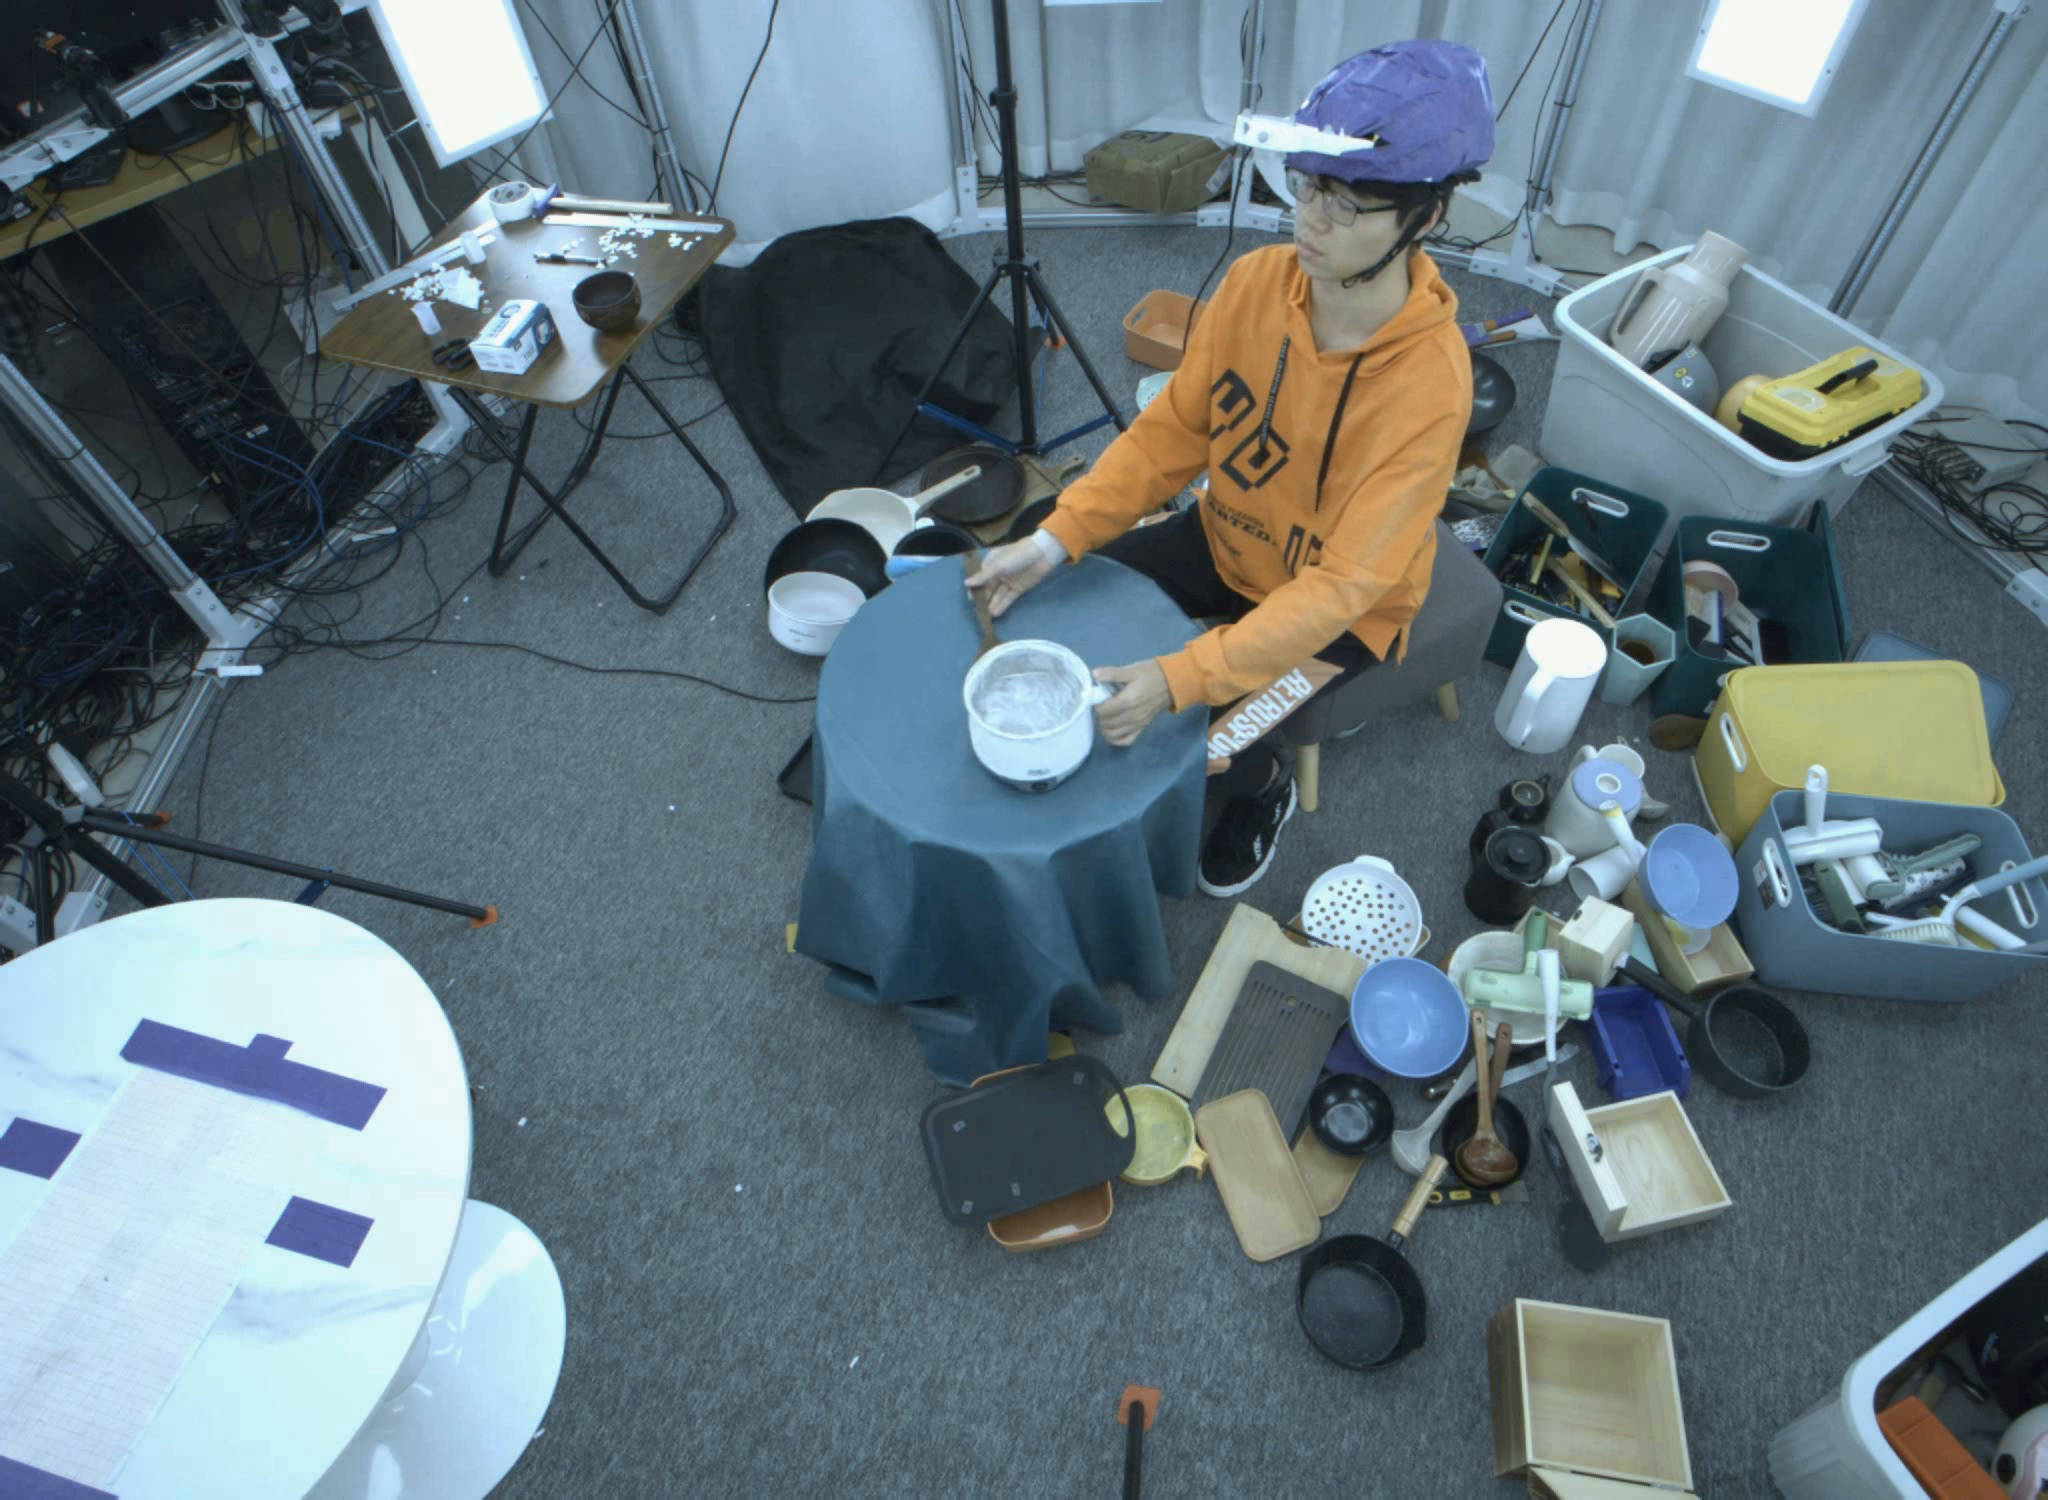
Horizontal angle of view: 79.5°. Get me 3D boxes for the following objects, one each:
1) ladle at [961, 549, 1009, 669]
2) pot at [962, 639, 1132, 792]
[{"bbox_3d":[-0.069,-0.227,1.899,0.076,0.072,0.270,-13,61,-1],"label":"ladle"},{"bbox_3d":[0.035,-0.052,1.738,0.234,0.138,0.176,-9,55,-3],"label":"pot"}]
